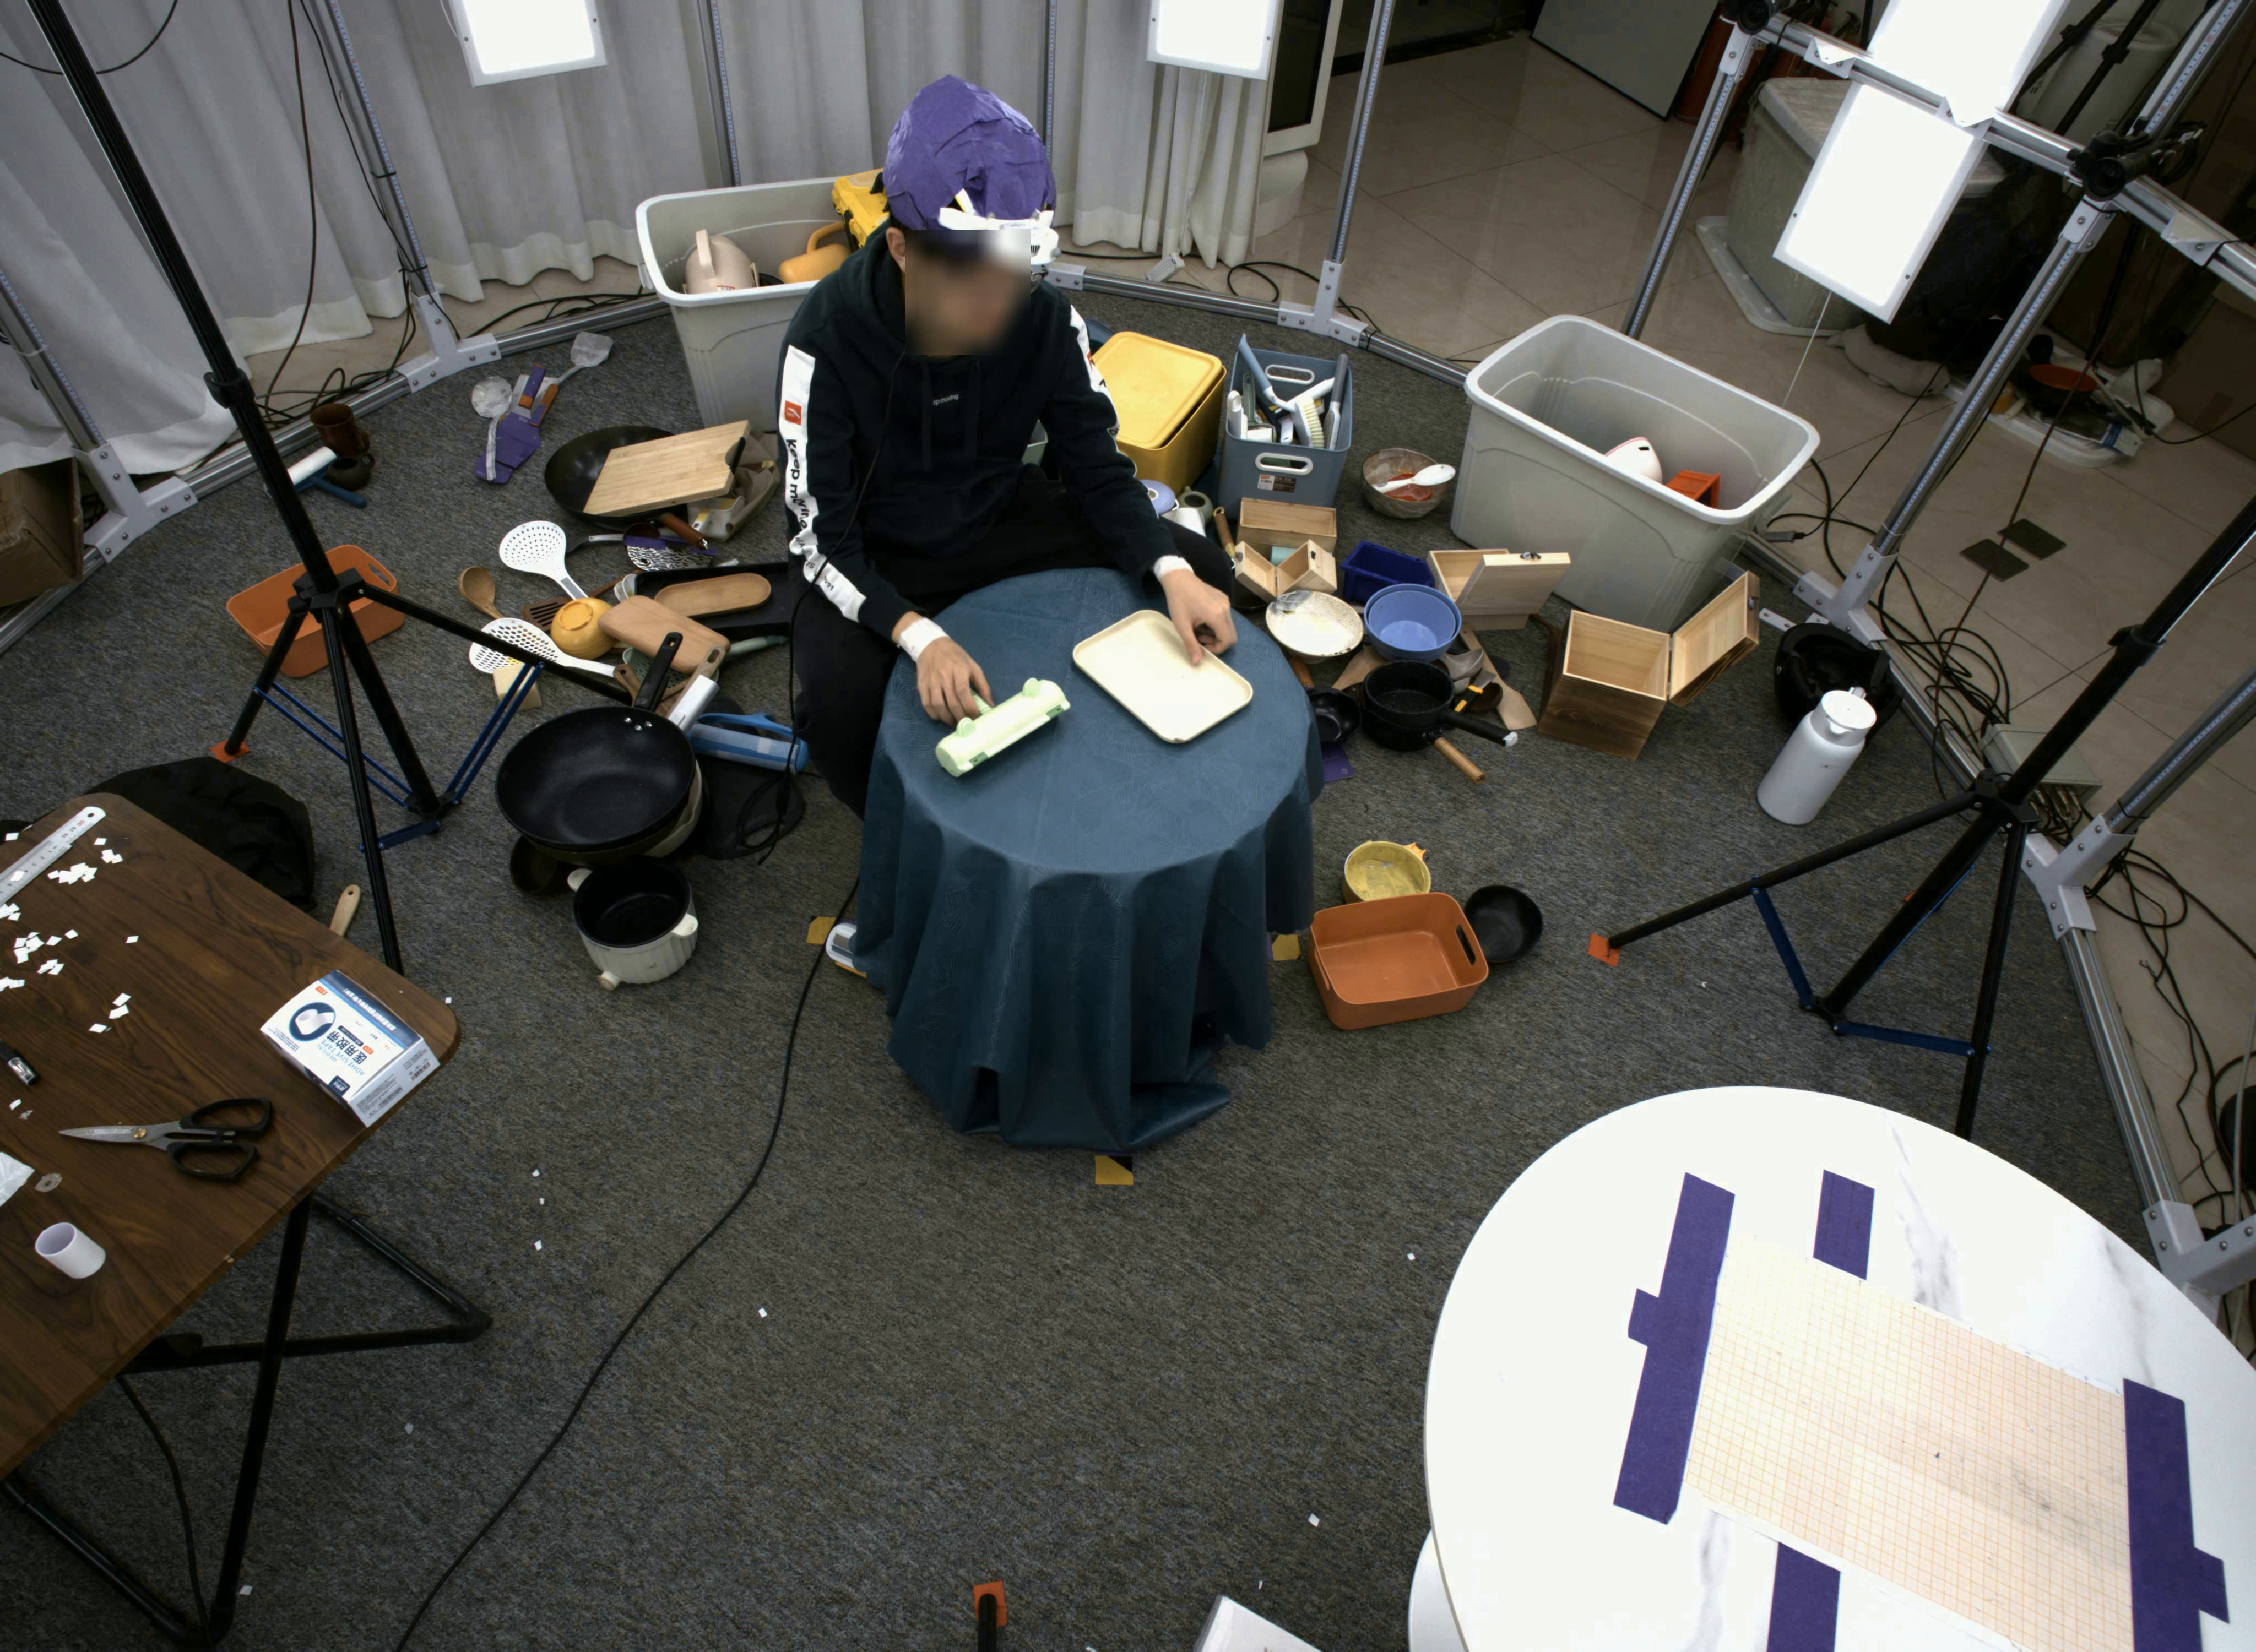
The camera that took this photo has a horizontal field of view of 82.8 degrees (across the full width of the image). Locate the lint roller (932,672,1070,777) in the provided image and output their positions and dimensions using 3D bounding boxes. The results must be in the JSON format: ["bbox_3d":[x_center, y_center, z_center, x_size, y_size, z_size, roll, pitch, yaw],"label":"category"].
[{"bbox_3d":[-0.207,-0.173,1.755,0.200,0.080,0.186,-34,63,-28],"label":"lint roller"}]

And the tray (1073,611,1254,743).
[{"bbox_3d":[0.050,-0.216,1.847,0.172,0.017,0.243,-32,58,-28],"label":"tray"}]
